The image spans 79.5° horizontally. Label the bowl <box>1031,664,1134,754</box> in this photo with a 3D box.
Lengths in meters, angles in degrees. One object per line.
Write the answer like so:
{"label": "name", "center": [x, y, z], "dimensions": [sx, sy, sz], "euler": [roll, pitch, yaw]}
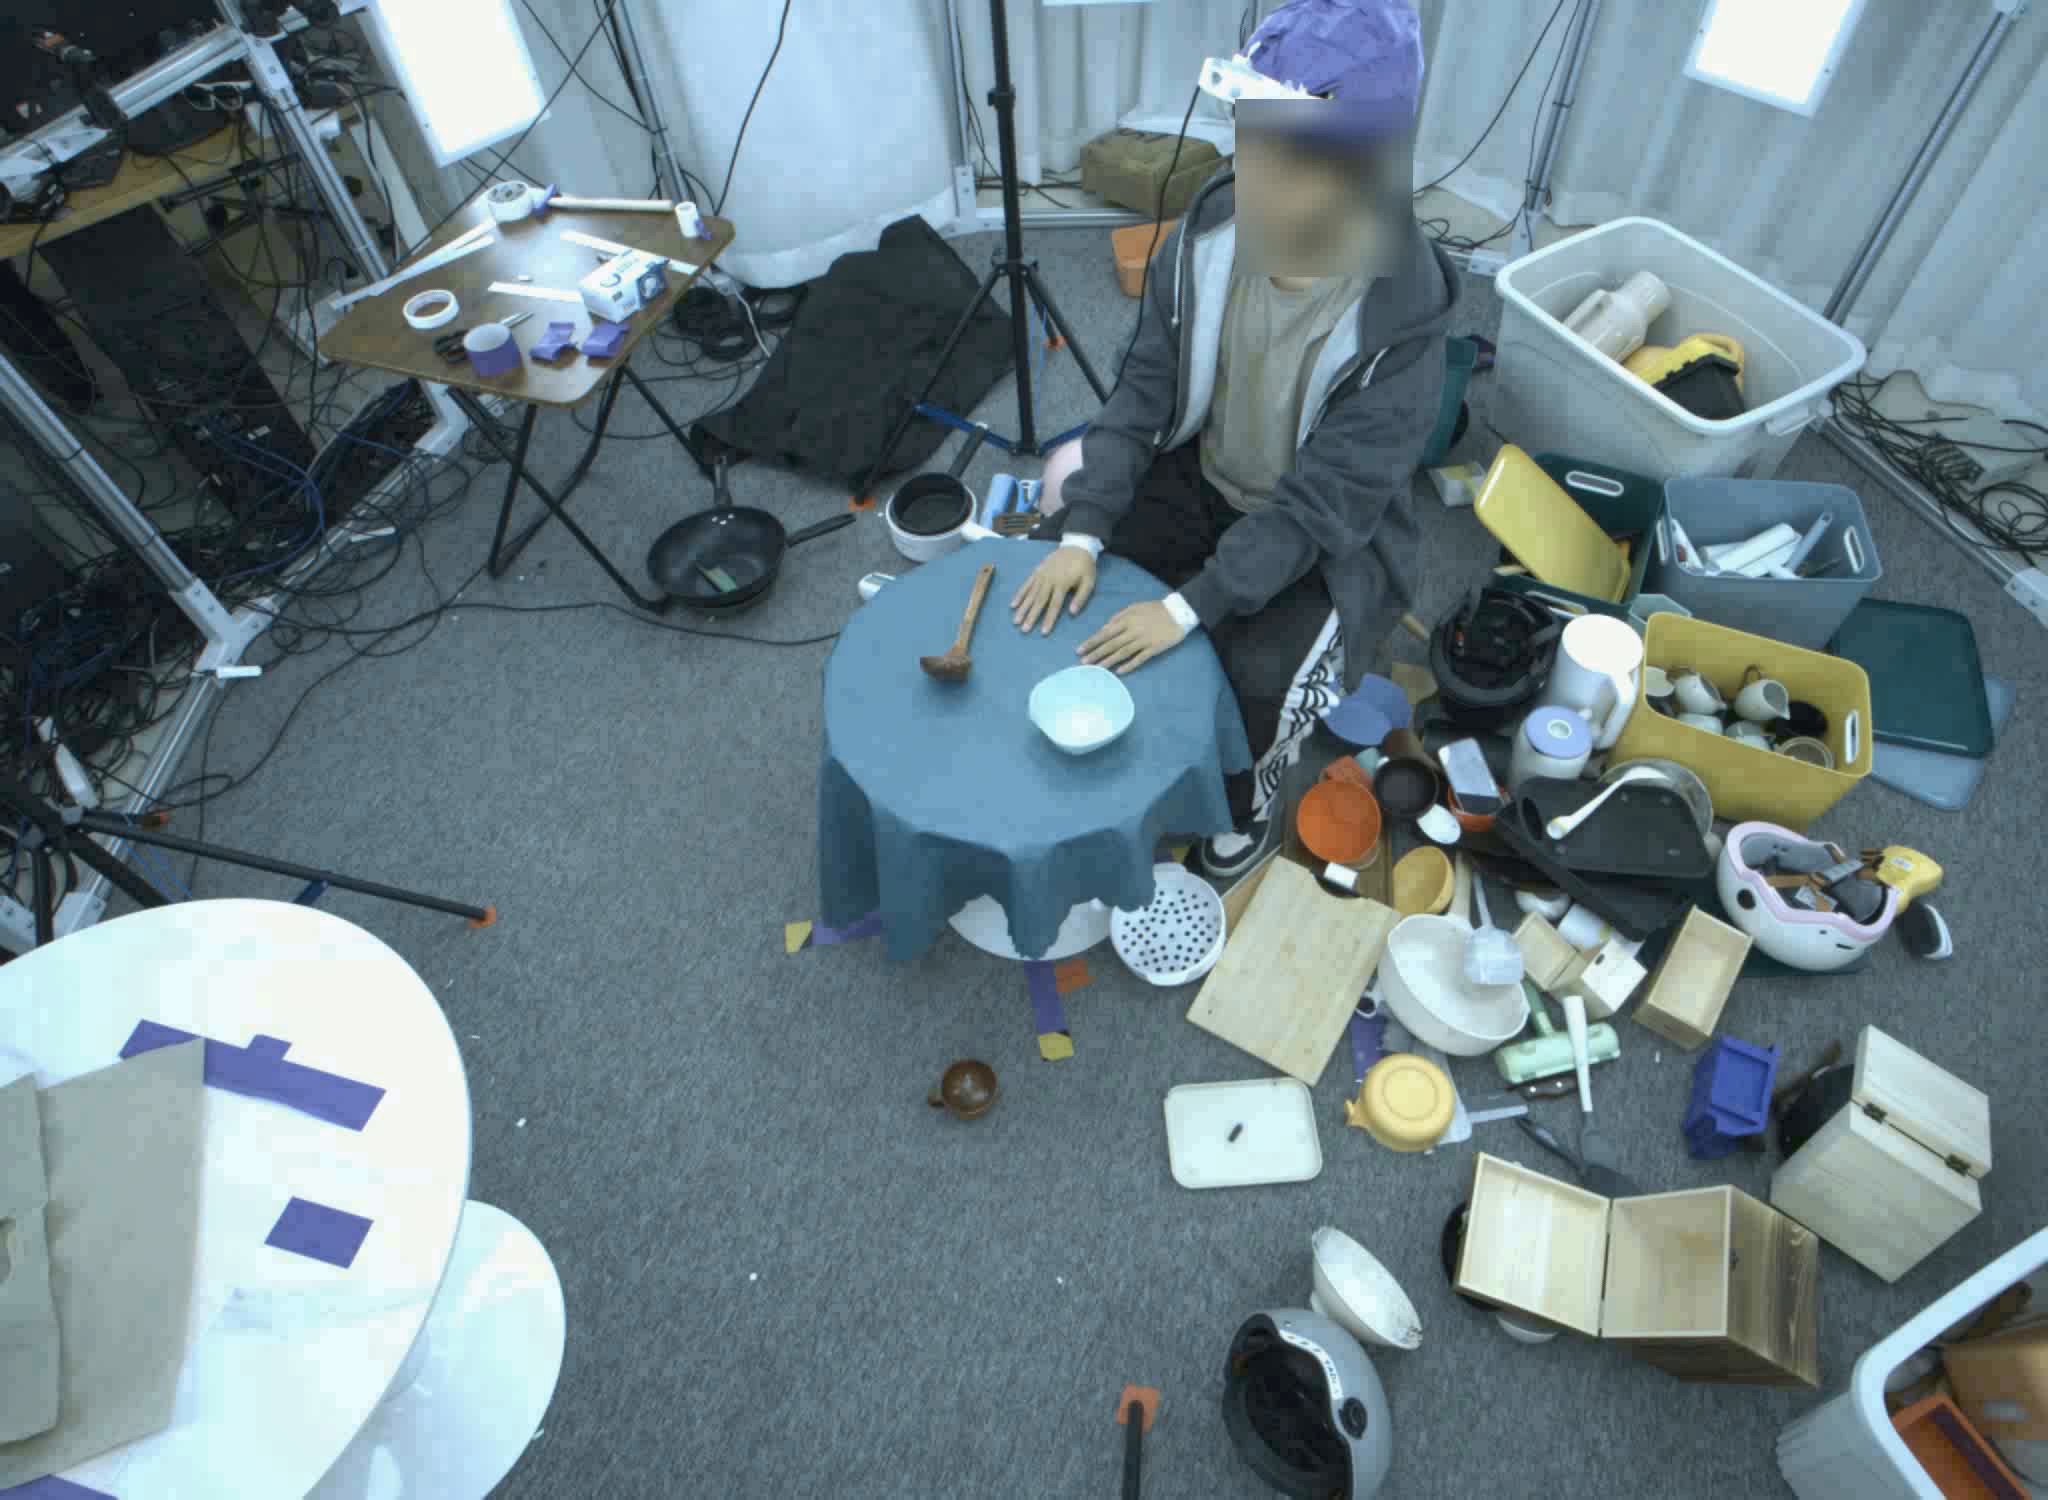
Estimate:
{"label": "bowl", "center": [0.086, -0.049, 1.786], "dimensions": [0.151, 0.059, 0.150], "euler": [-2, 55, 4]}

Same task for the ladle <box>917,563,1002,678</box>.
{"label": "ladle", "center": [-0.091, -0.214, 1.897], "dimensions": [0.081, 0.077, 0.273], "euler": [9, 56, 15]}
